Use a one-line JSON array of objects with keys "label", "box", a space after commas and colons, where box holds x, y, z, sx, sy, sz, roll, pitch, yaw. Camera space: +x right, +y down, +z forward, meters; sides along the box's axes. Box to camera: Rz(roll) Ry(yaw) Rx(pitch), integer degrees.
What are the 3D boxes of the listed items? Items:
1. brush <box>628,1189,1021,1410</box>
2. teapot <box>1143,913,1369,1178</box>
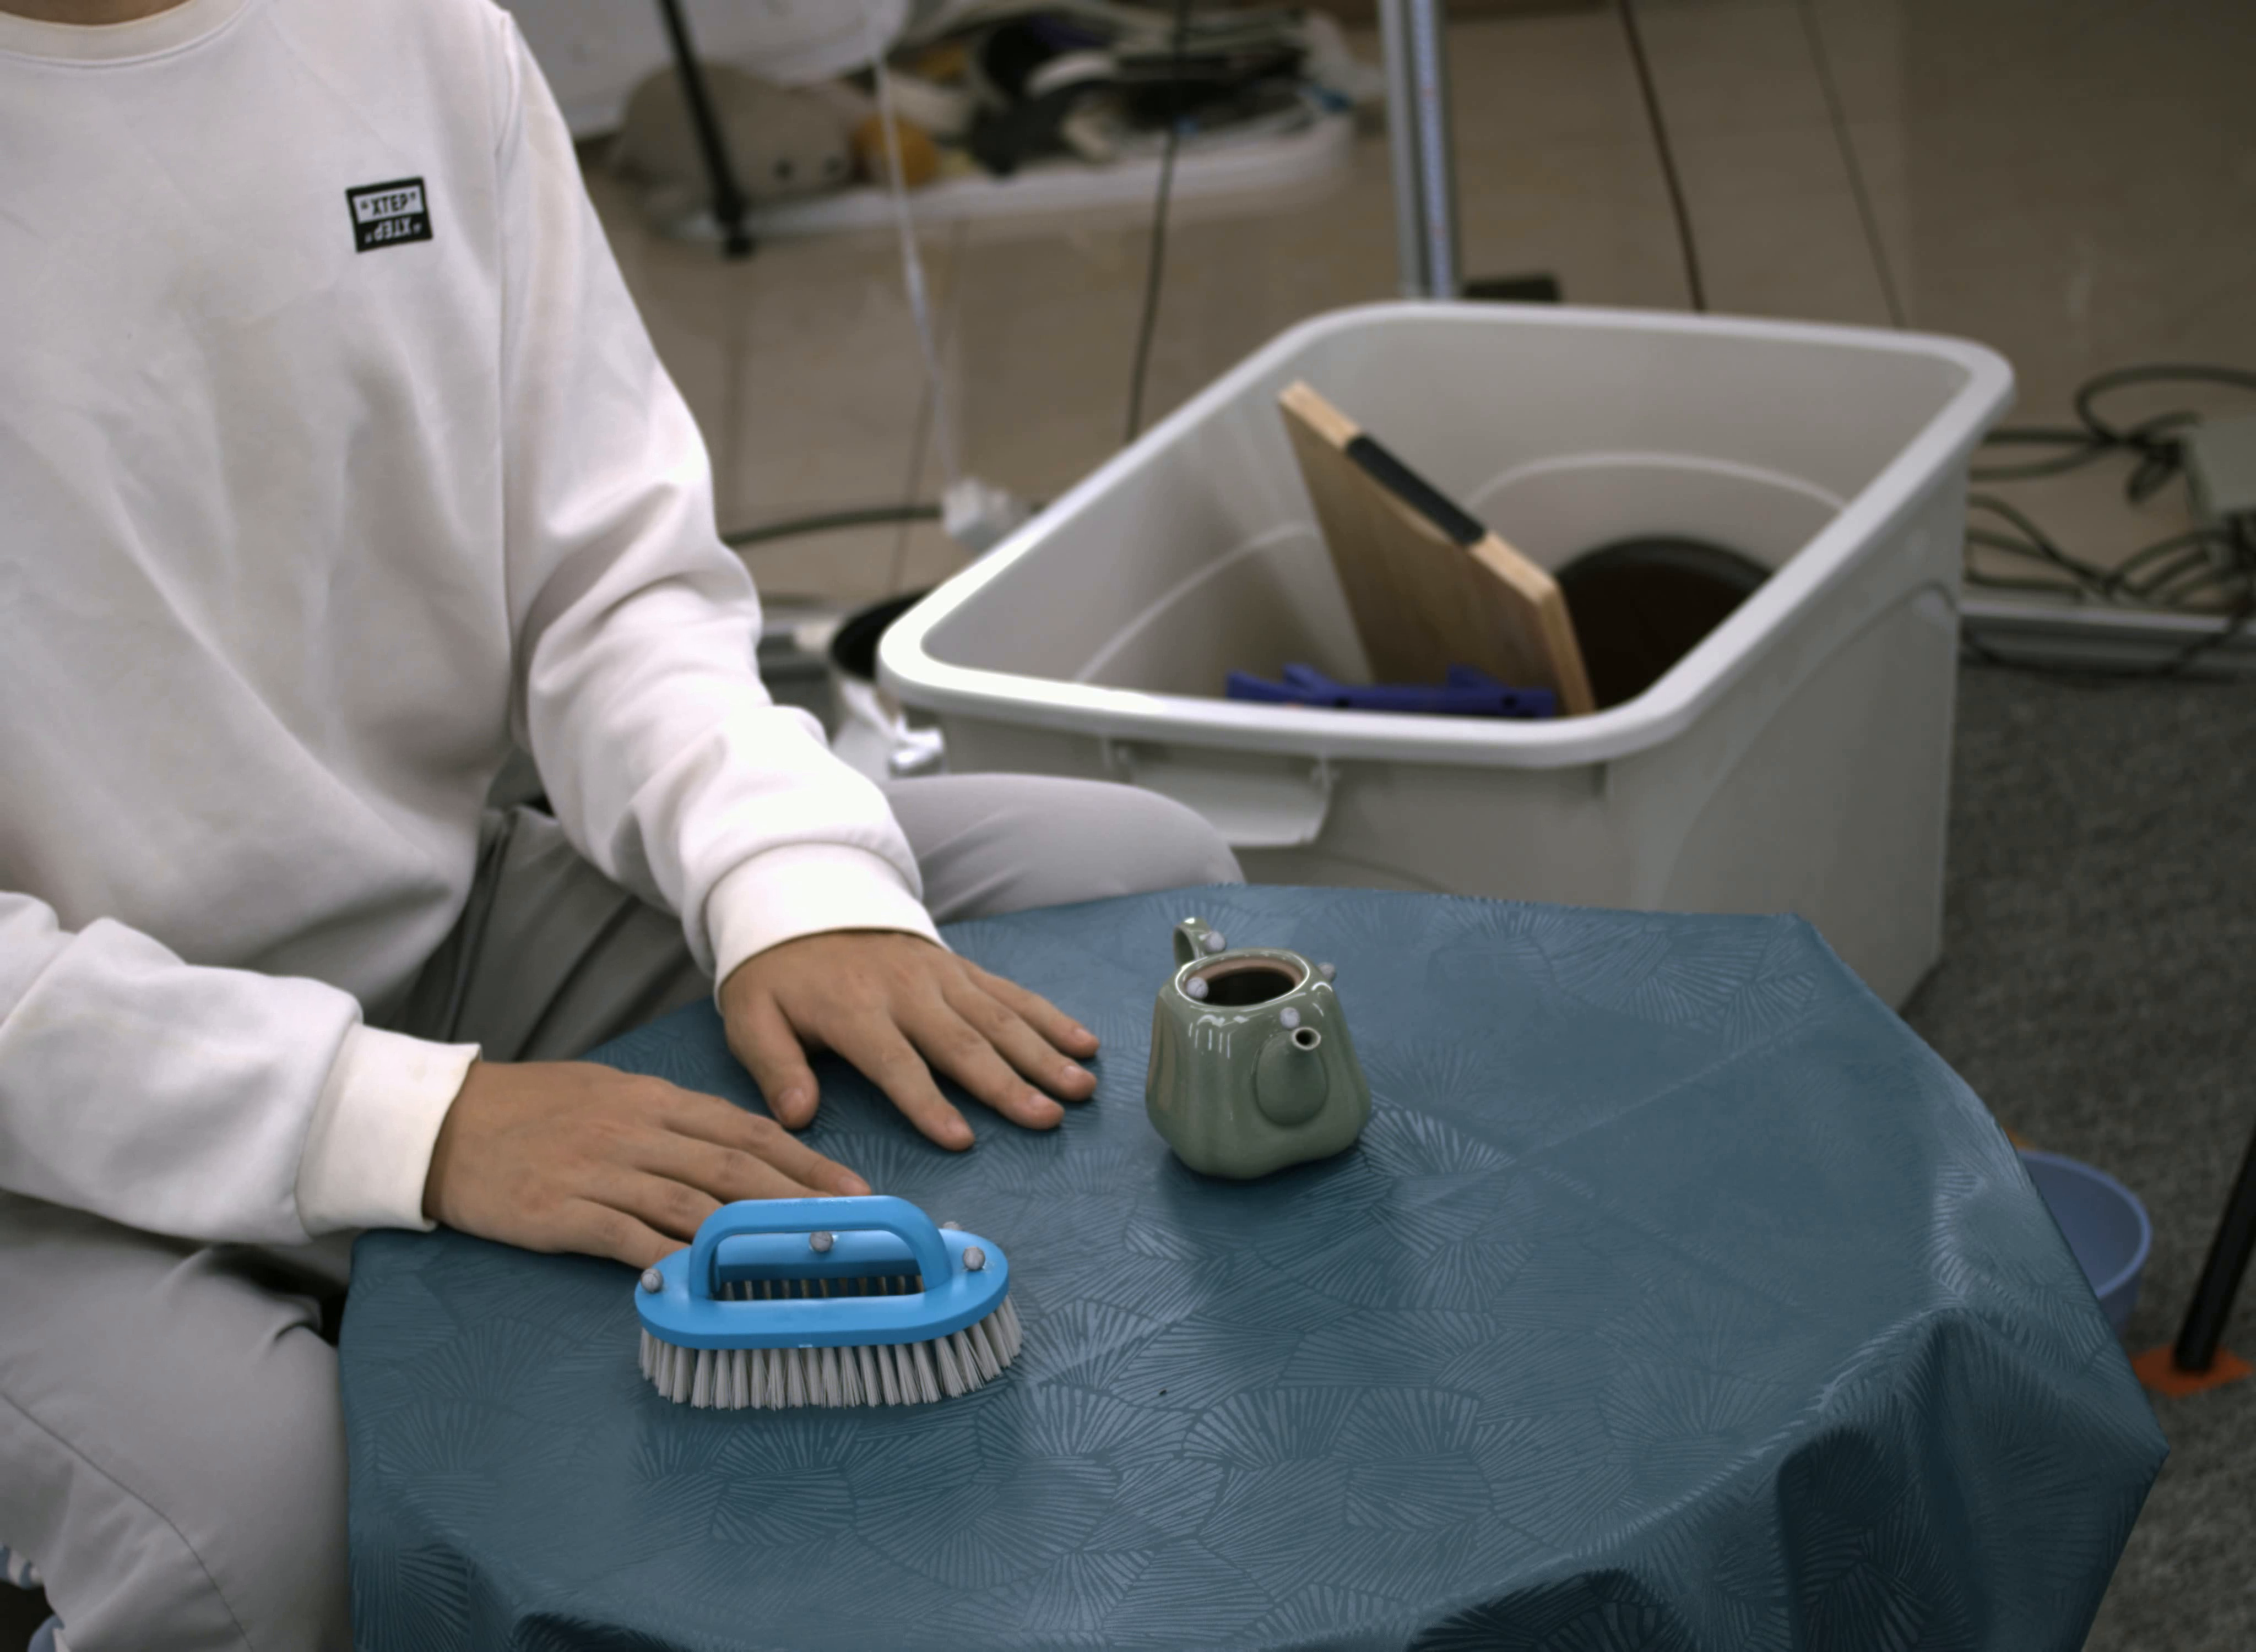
[{"label": "brush", "box": [-0.113, 0.162, 2.045, 0.141, 0.065, 0.083, -2, 30, 11]}, {"label": "teapot", "box": [0.047, 0.087, 2.159, 0.079, 0.076, 0.131, -14, 25, -16]}]
